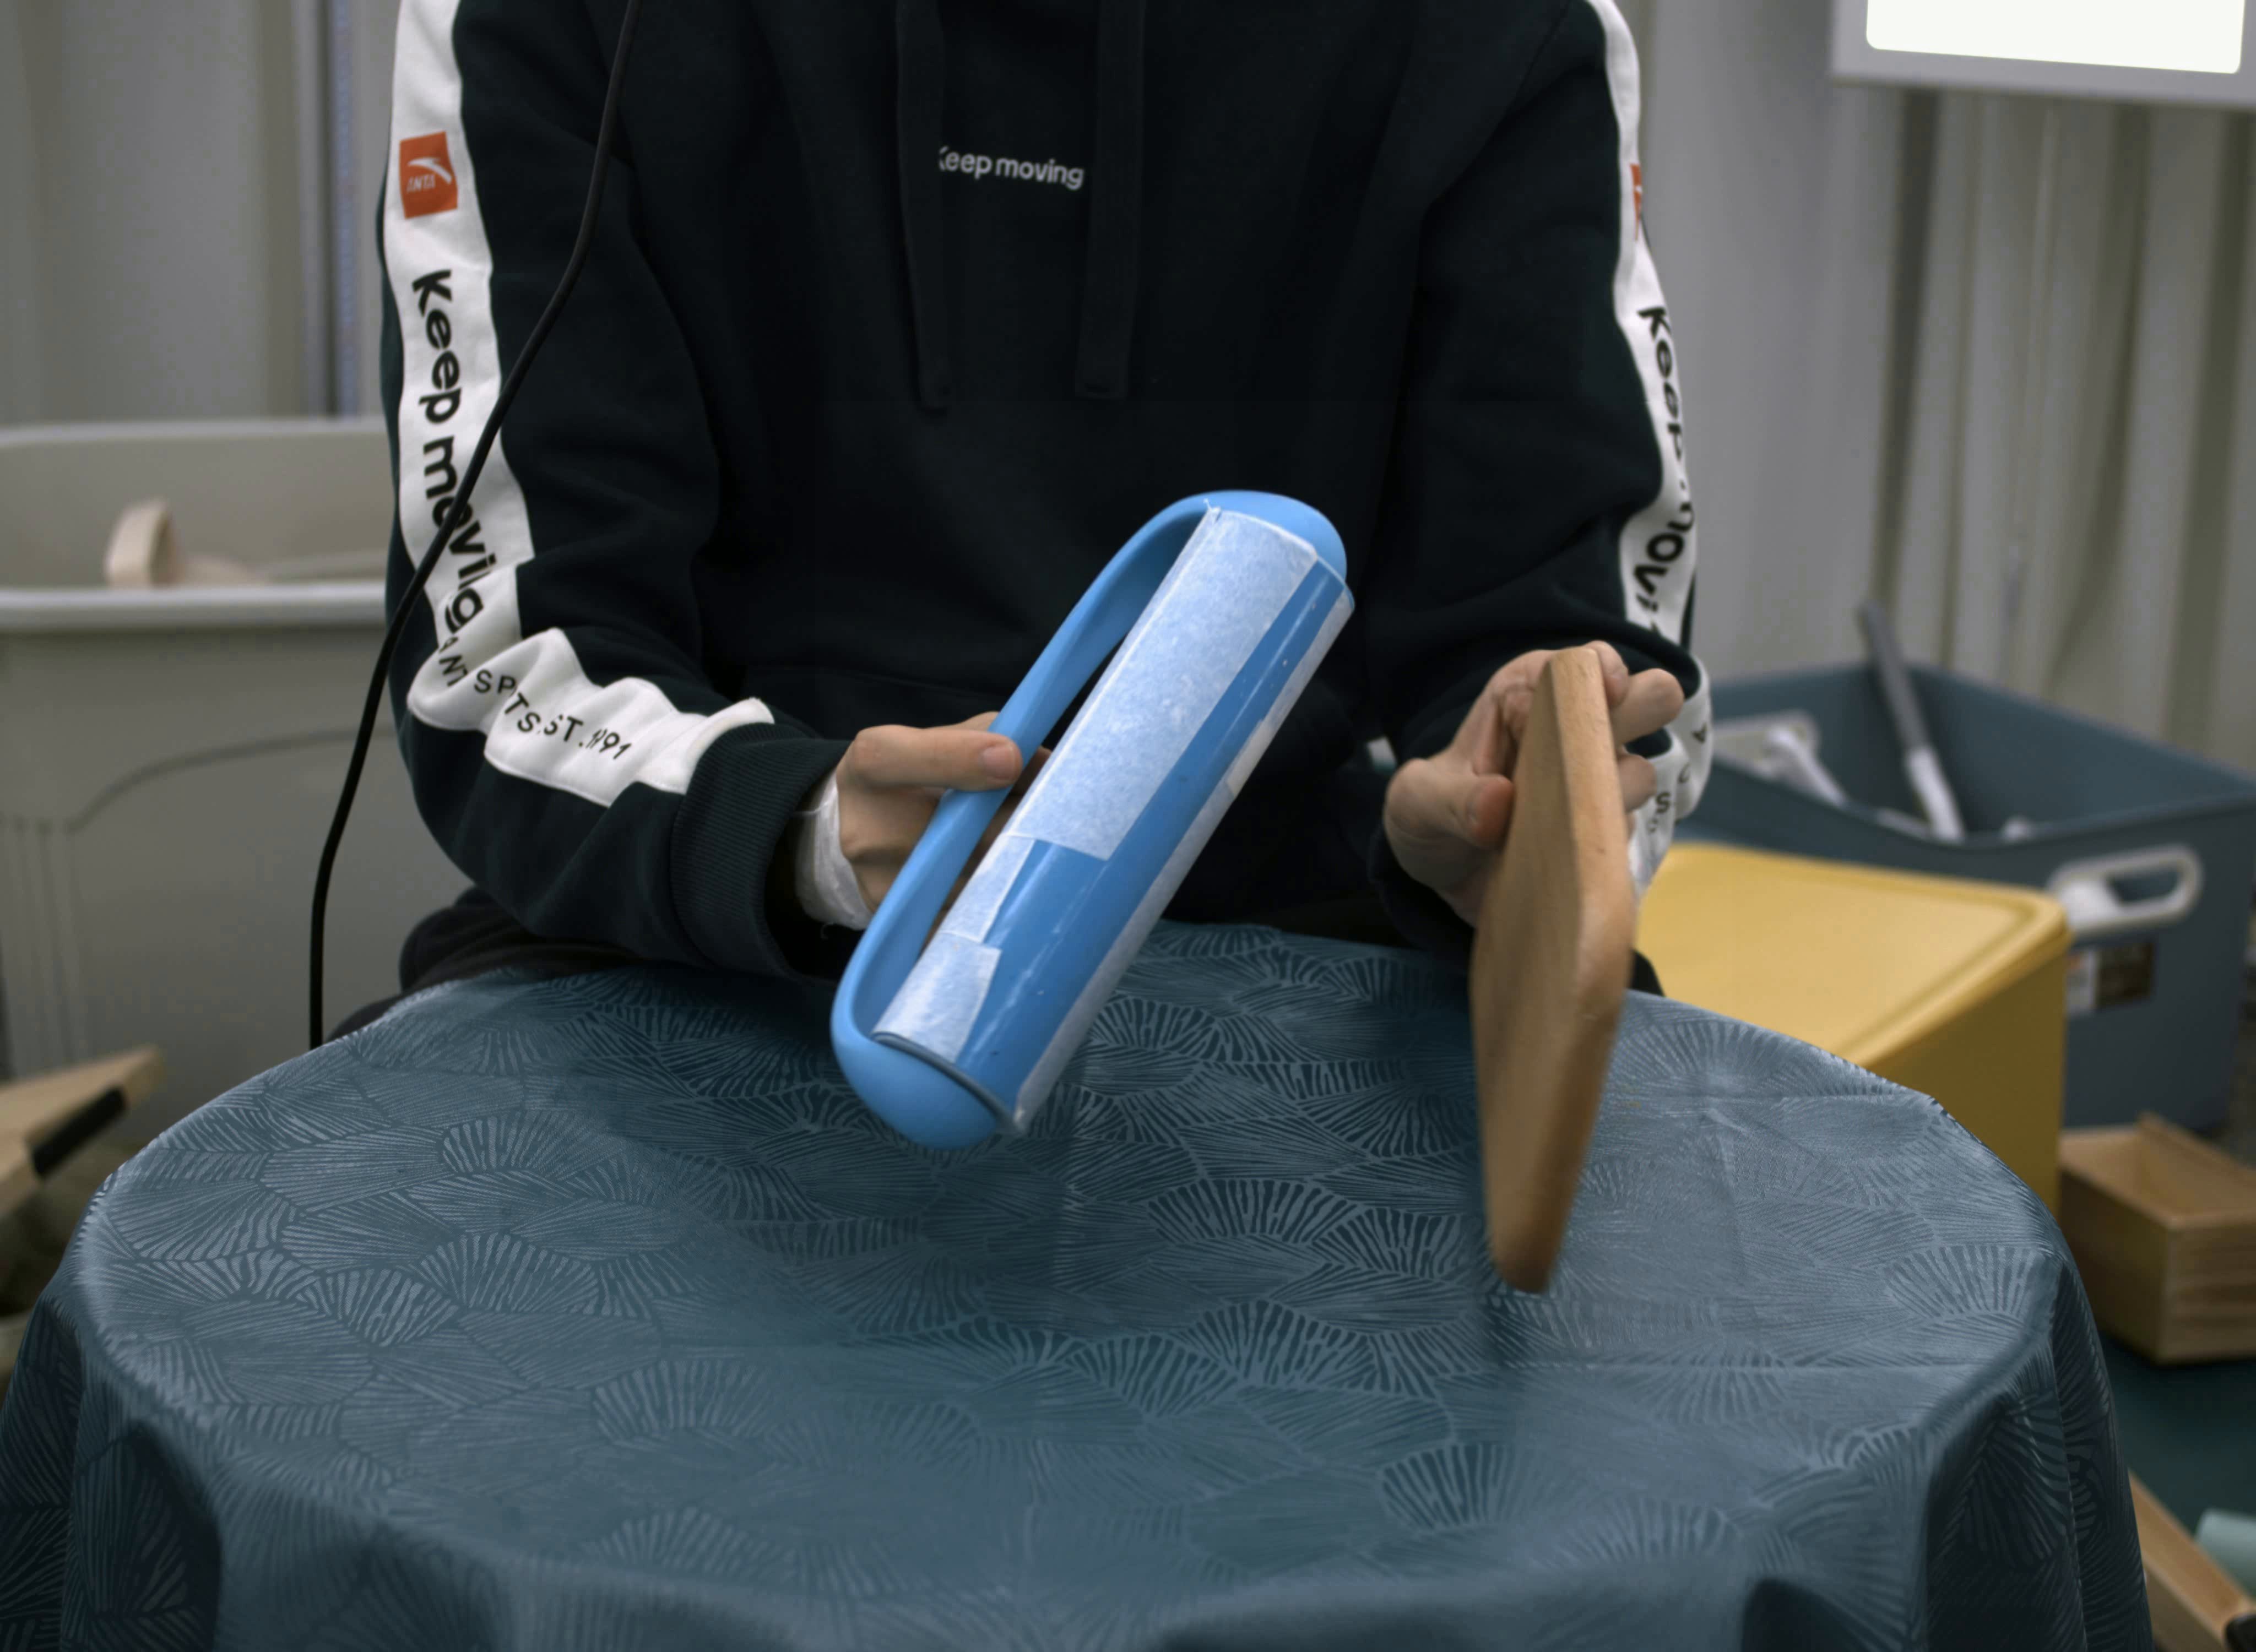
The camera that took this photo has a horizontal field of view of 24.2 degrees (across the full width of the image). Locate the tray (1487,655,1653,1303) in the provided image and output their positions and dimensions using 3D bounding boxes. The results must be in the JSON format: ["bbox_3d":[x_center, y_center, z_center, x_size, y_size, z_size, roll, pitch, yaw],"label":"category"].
[{"bbox_3d":[0.129,0.040,1.568,0.023,0.131,0.249,11,19,-4],"label":"tray"}]

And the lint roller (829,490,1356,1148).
[{"bbox_3d":[-0.027,0.003,1.609,0.068,0.228,0.179,36,-18,-15],"label":"lint roller"}]
